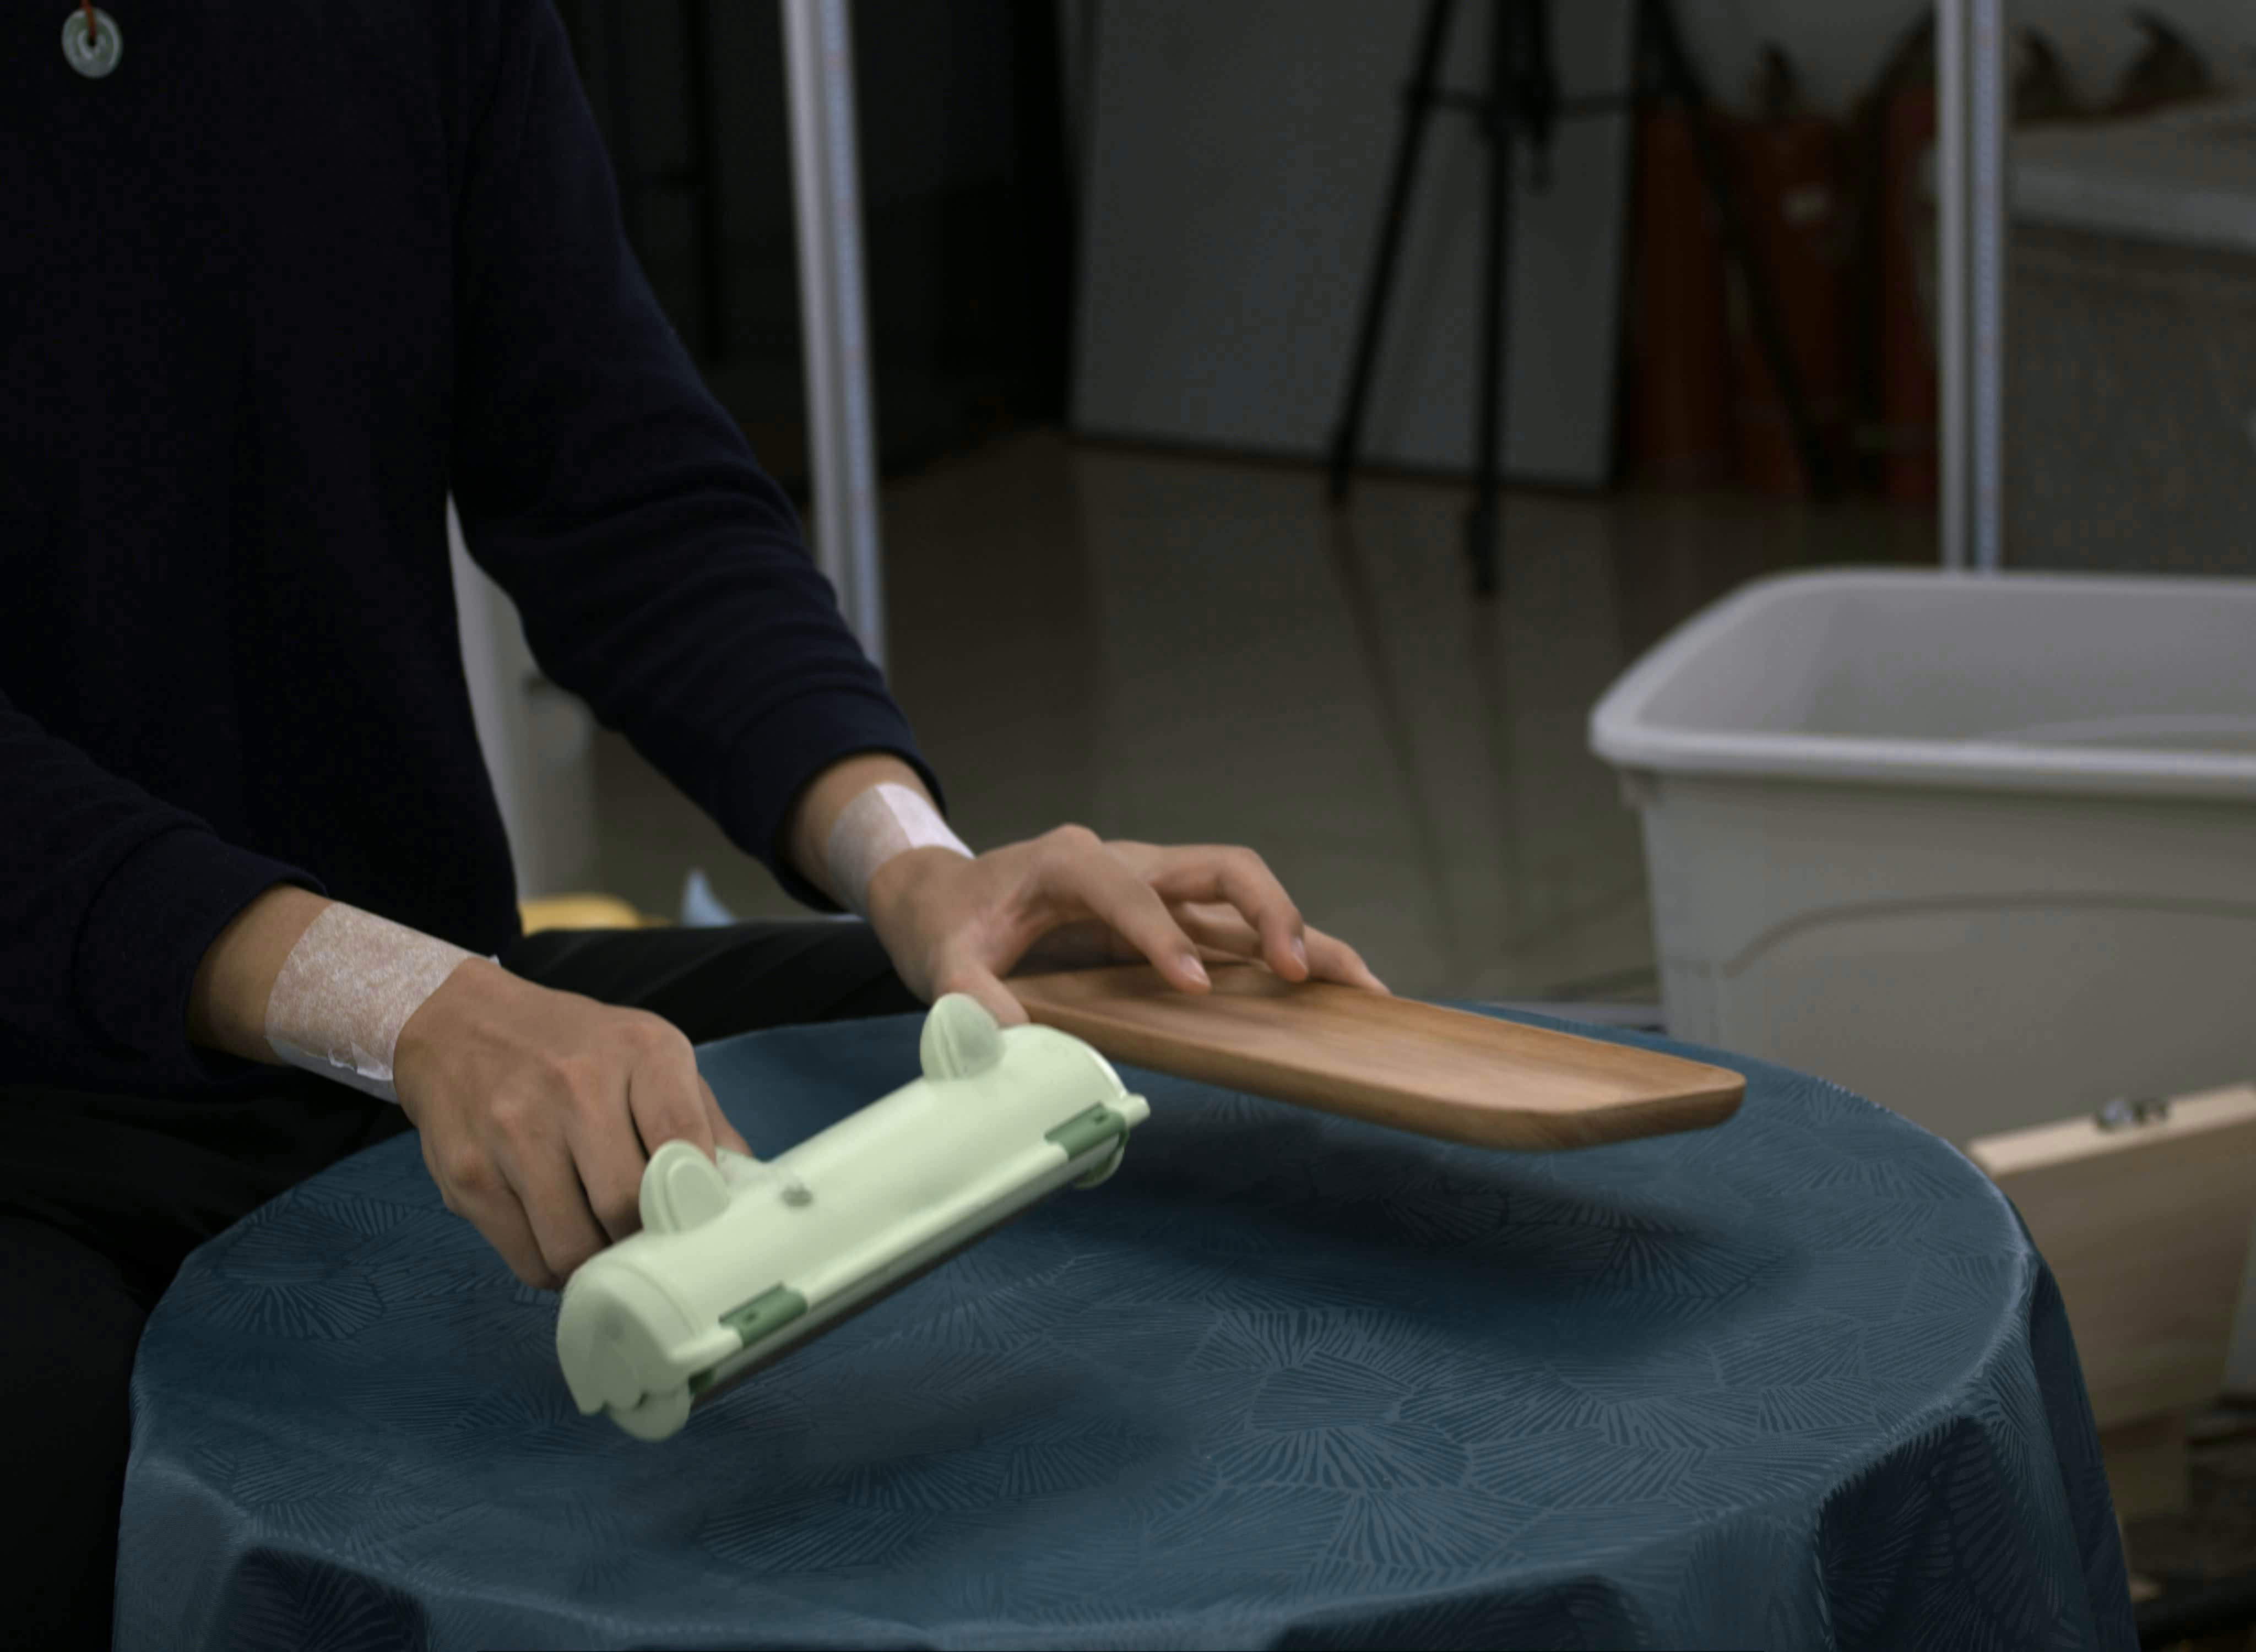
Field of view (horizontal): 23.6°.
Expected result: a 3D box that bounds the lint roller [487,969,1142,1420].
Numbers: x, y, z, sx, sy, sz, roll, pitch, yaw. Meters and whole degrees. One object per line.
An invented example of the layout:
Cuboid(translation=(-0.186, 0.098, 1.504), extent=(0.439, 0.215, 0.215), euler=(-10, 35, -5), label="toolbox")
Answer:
Cuboid(translation=(-0.122, 0.087, 1.573), extent=(0.185, 0.083, 0.195), euler=(19, 32, 37), label="lint roller")

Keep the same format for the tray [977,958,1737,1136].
Cuboid(translation=(0.070, 0.069, 1.729), extent=(0.127, 0.023, 0.253), euler=(1, 6, -44), label="tray")
